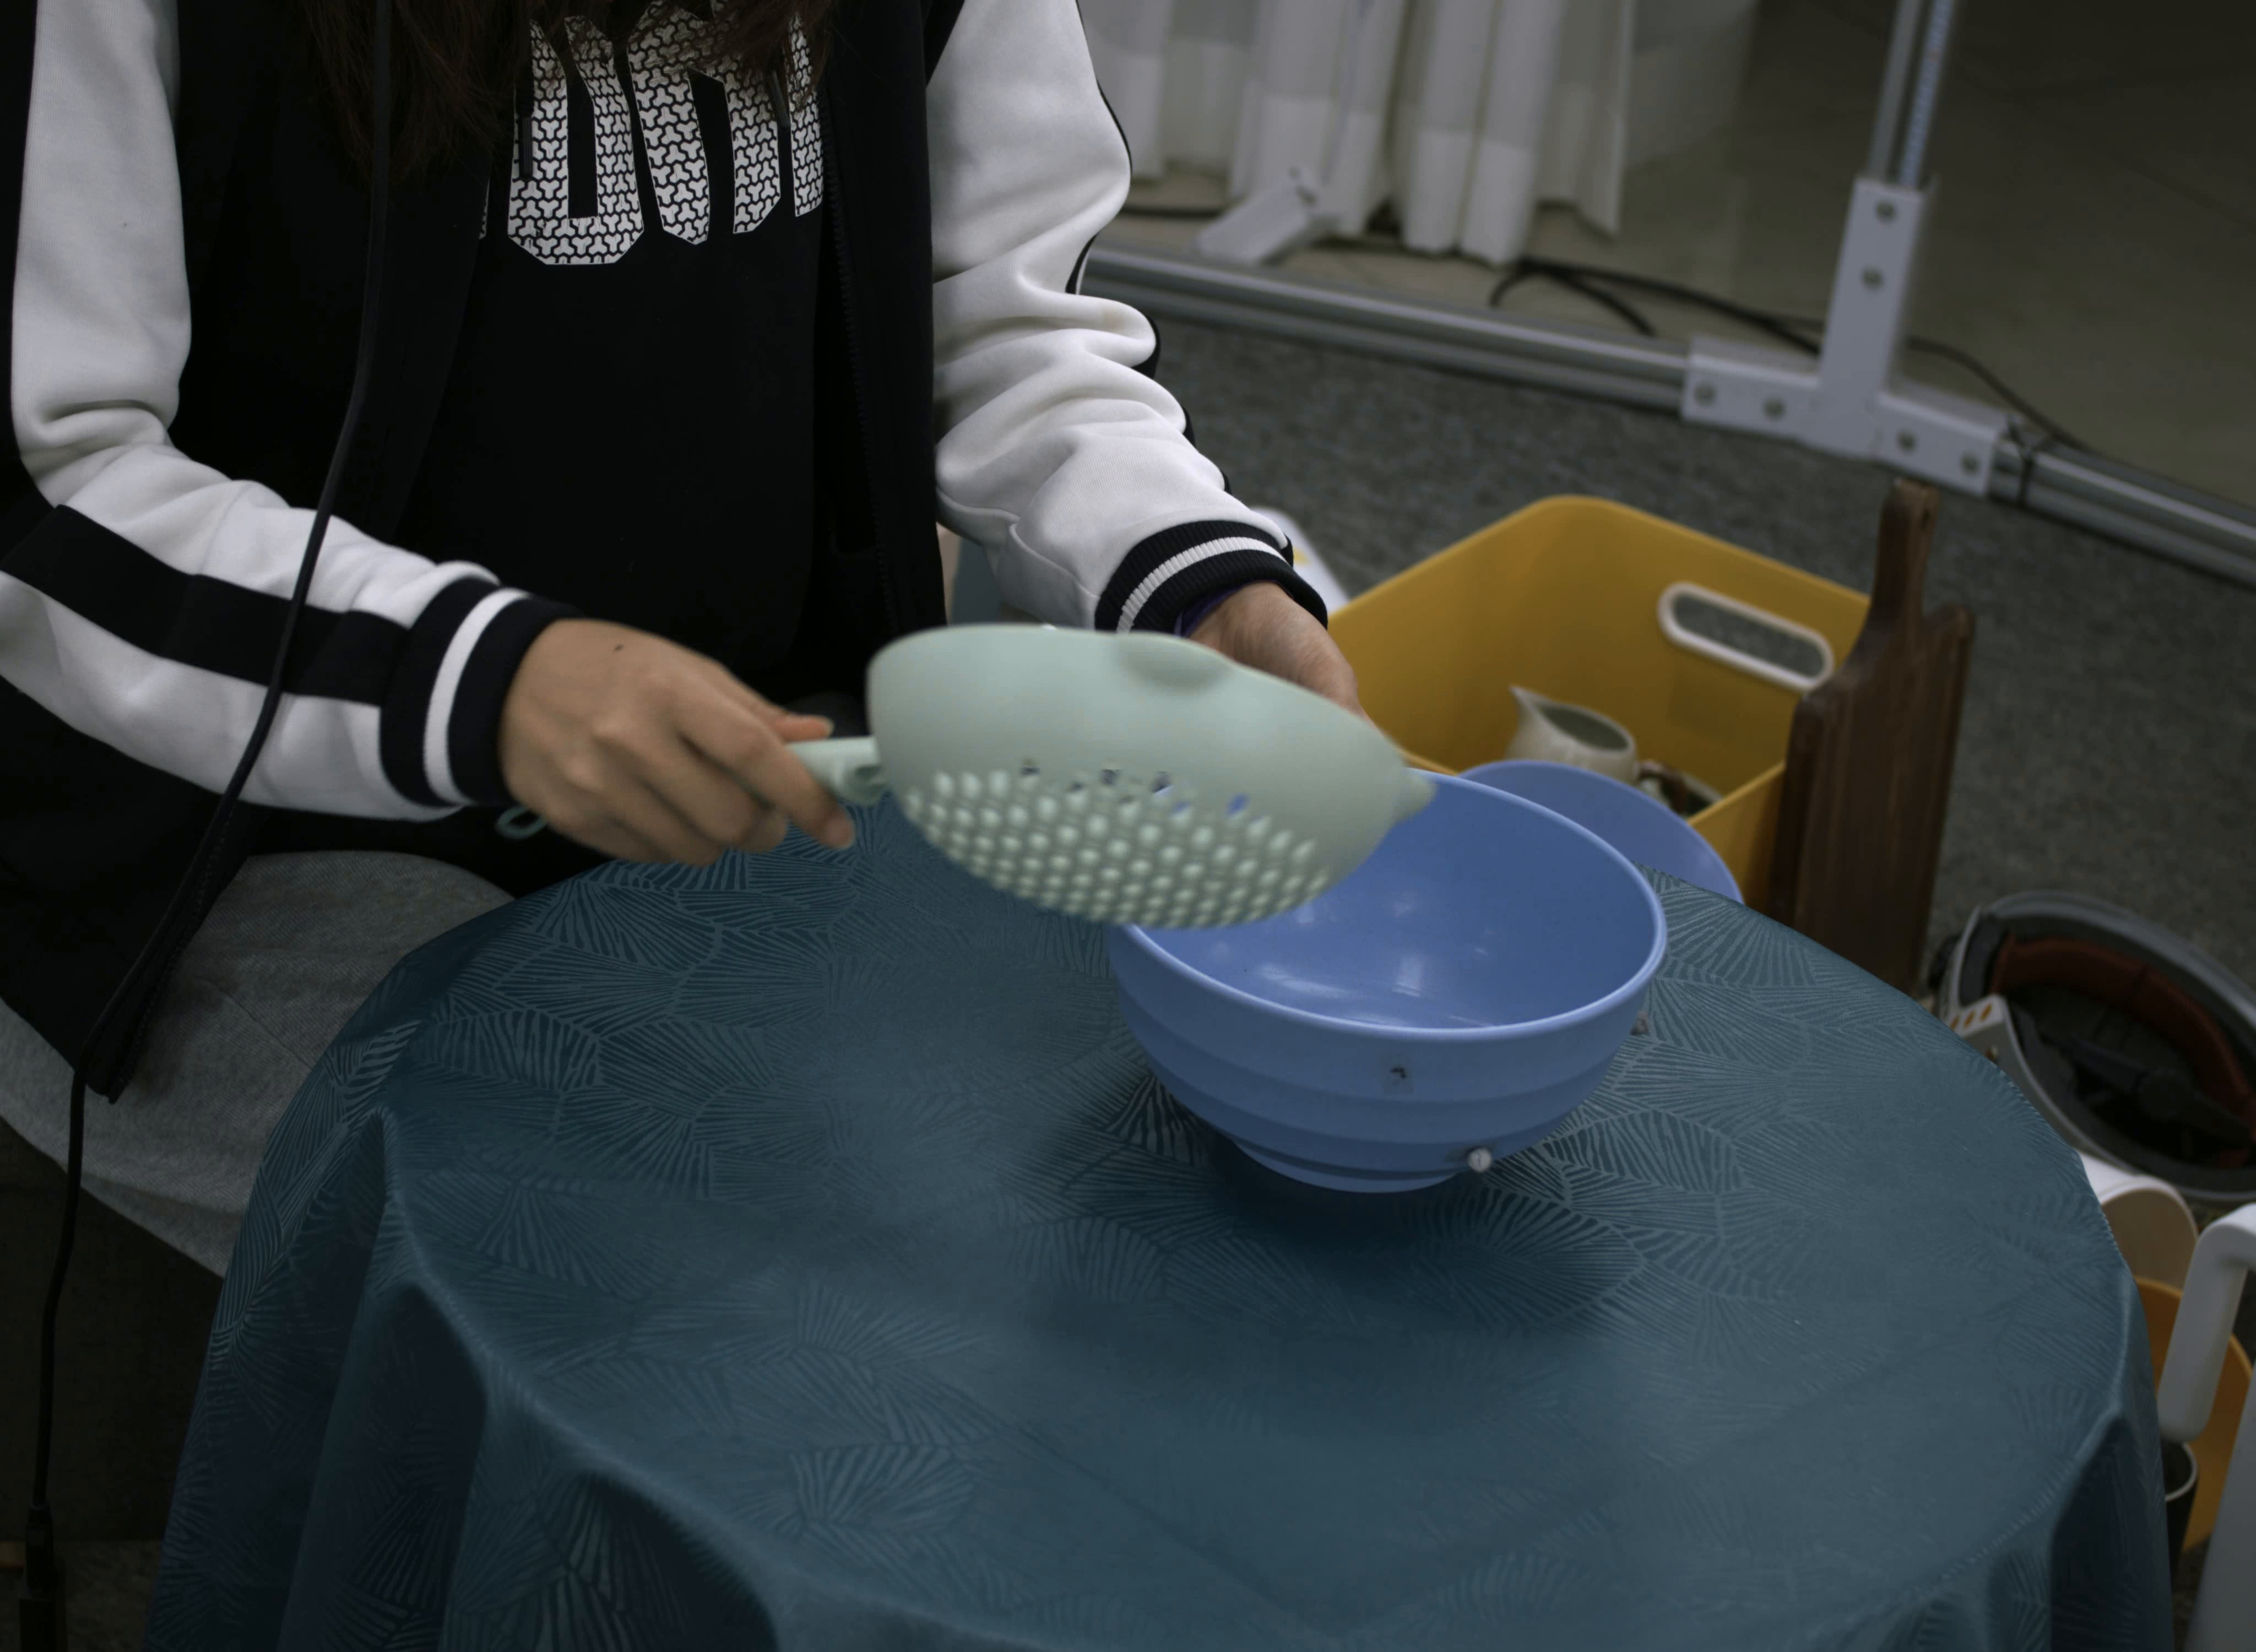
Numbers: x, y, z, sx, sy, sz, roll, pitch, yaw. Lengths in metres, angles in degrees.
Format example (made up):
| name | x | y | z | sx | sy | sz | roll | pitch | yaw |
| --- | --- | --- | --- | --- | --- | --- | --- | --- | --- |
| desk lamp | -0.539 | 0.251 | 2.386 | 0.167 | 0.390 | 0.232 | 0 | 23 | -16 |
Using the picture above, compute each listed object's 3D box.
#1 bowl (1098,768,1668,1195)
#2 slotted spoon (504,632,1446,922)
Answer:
| name | x | y | z | sx | sy | sz | roll | pitch | yaw |
| --- | --- | --- | --- | --- | --- | --- | --- | --- | --- |
| bowl | 0.082 | 0.064 | 1.835 | 0.196 | 0.095 | 0.198 | 5 | 27 | -3 |
| slotted spoon | -0.070 | -0.014 | 1.689 | 0.361 | 0.075 | 0.167 | 6 | -14 | 43 |
